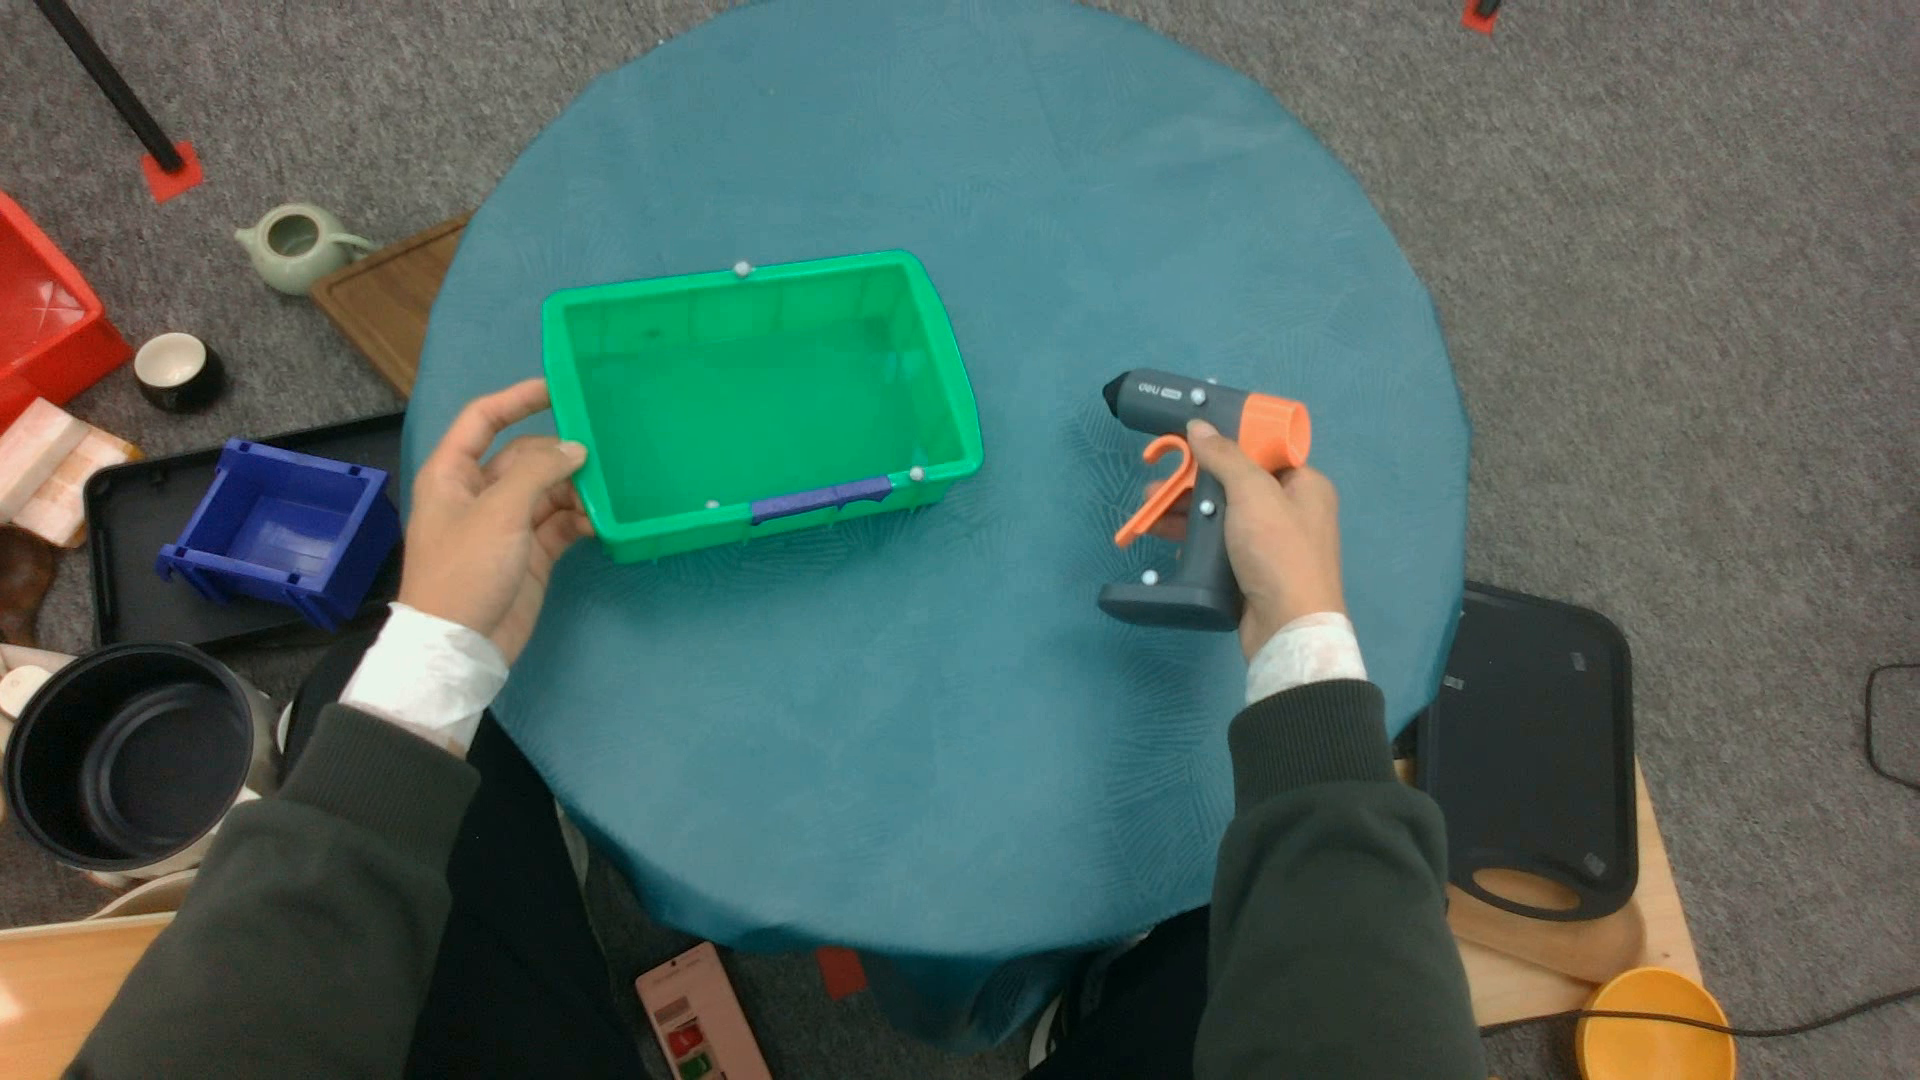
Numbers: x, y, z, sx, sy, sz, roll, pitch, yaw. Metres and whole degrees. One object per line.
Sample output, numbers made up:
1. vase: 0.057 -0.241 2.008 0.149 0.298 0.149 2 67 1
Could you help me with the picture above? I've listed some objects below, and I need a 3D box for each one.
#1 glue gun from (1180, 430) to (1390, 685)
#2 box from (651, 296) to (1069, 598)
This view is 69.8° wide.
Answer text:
1. glue gun: 0.159 0.003 0.723 0.117 0.041 0.140 -2 63 40
2. box: -0.057 -0.048 0.748 0.211 0.065 0.139 -10 70 -18
